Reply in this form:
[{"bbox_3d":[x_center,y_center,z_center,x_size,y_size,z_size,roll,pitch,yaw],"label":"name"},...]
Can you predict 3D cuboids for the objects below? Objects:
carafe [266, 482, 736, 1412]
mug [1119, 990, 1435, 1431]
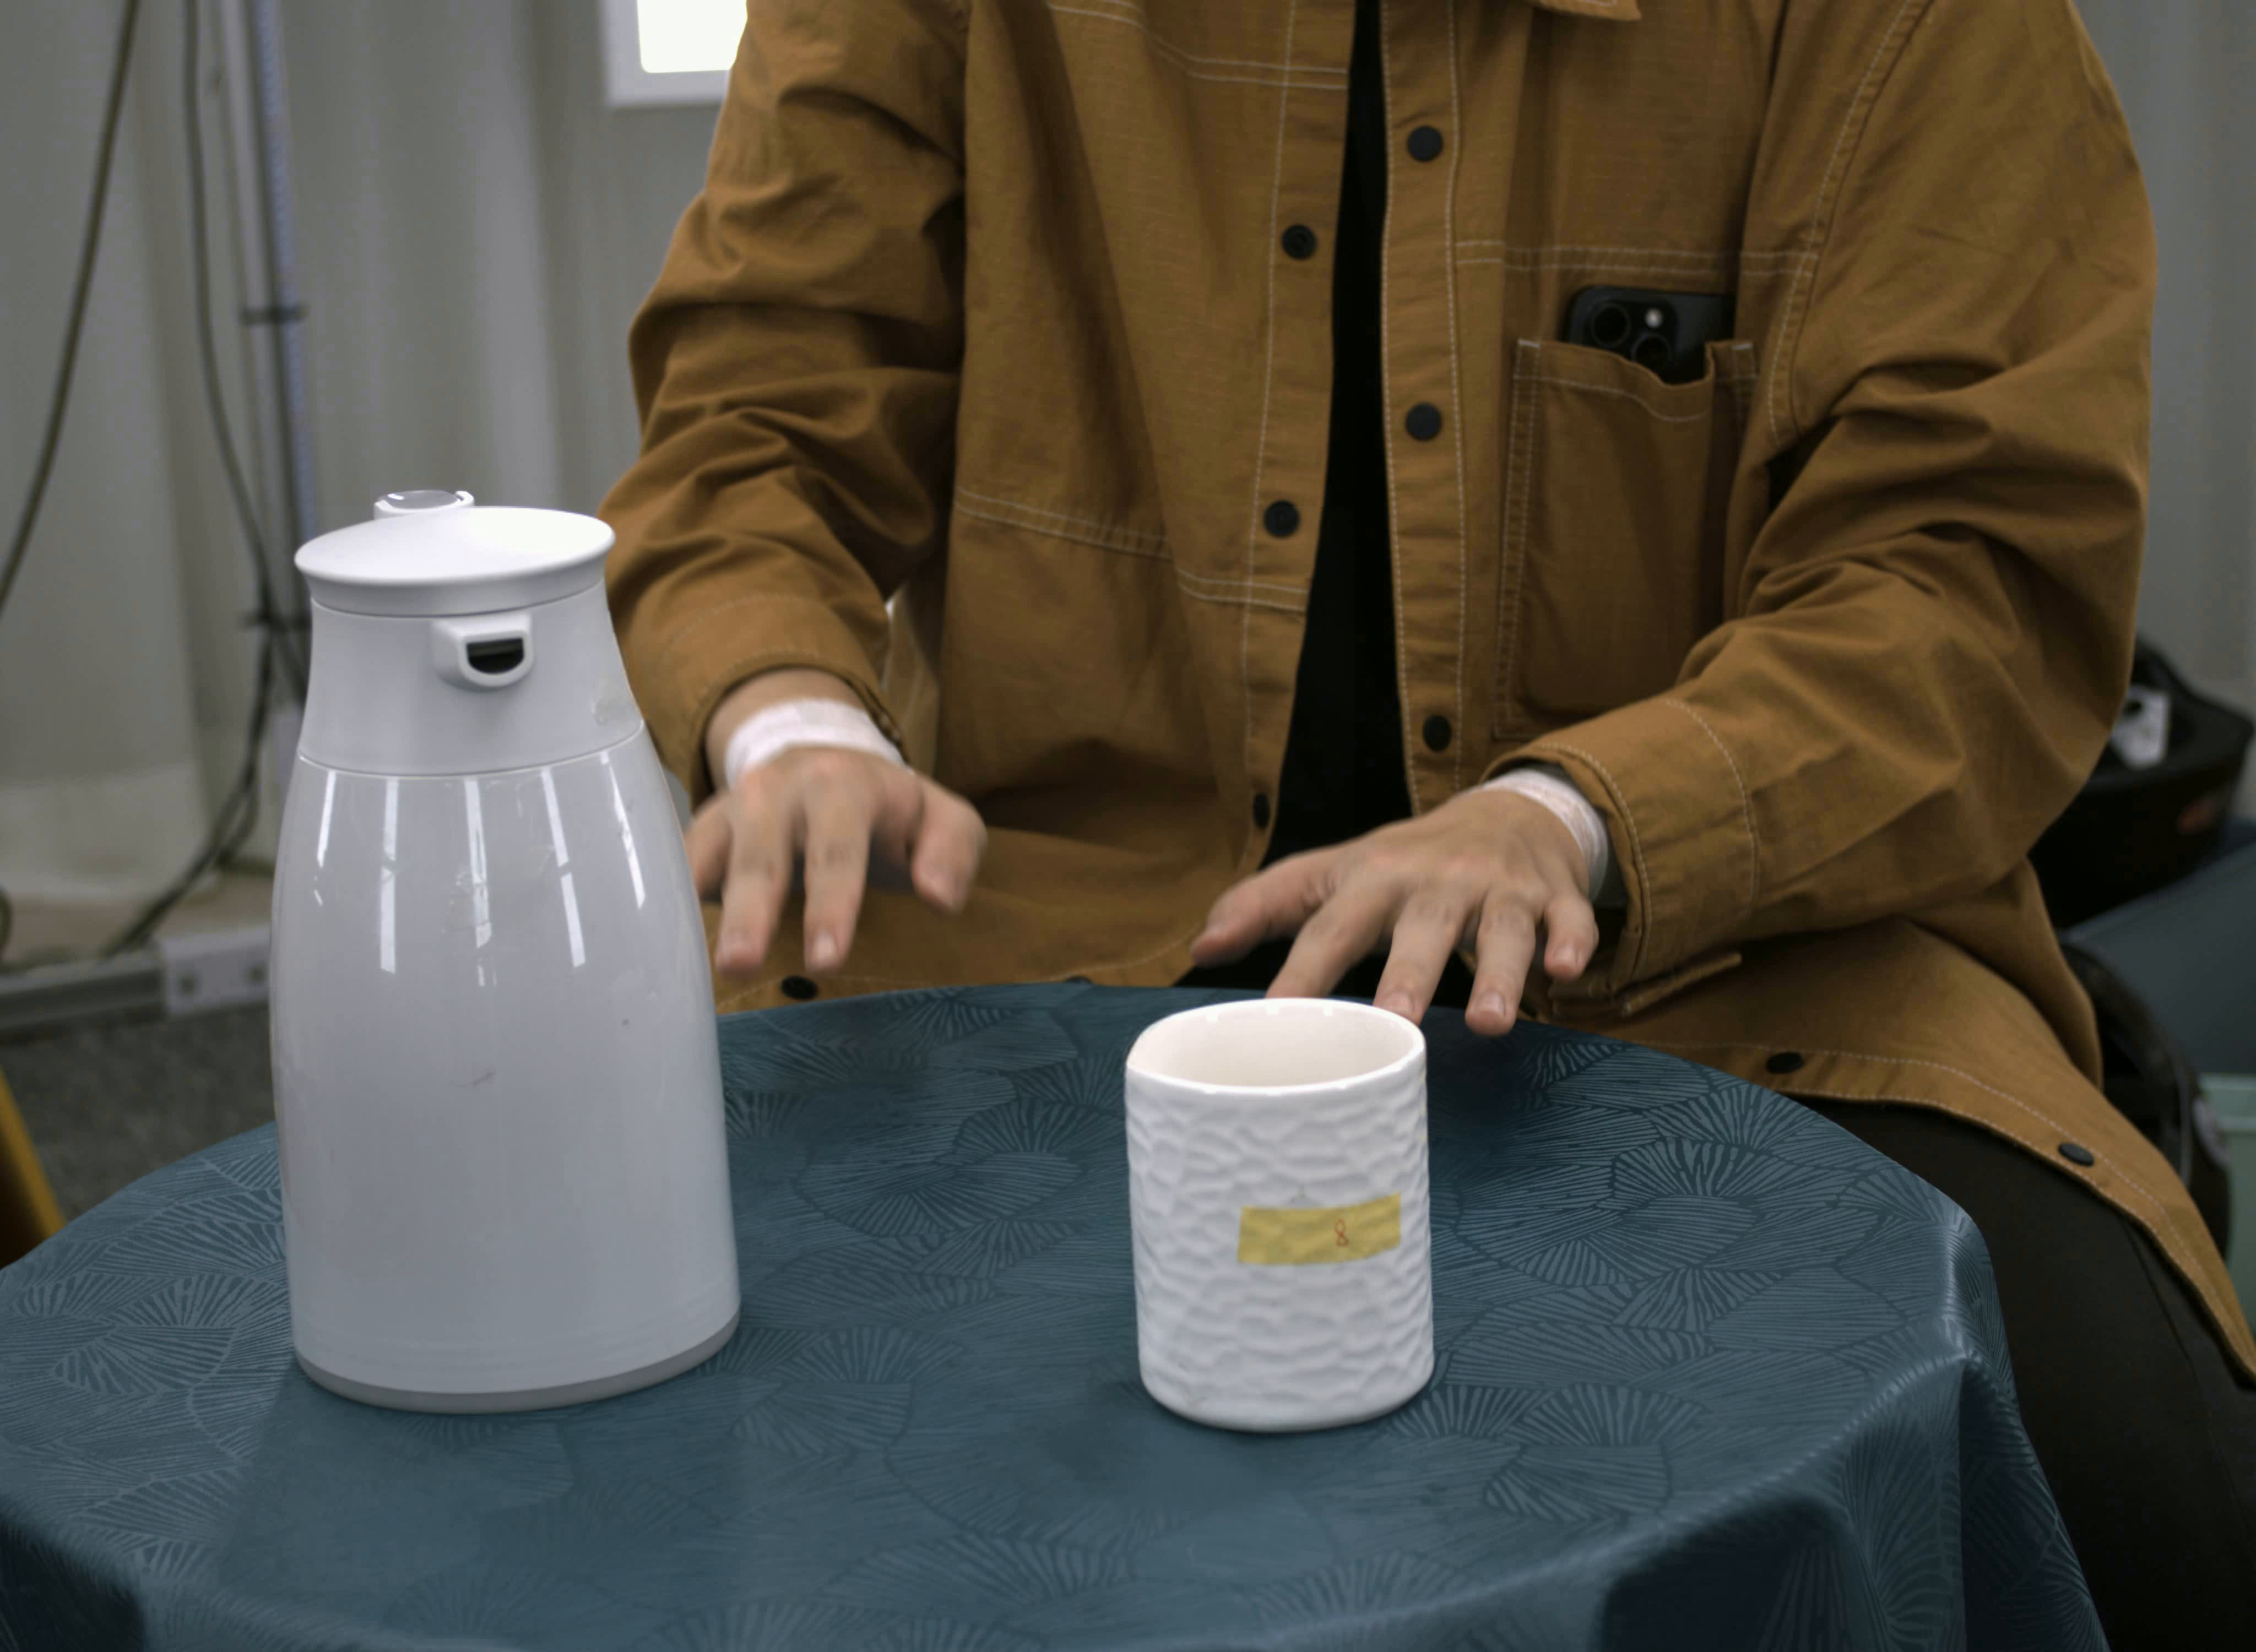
[{"bbox_3d":[-0.193,0.027,1.603,0.132,0.248,0.169,-7,14,-16],"label":"carafe"},{"bbox_3d":[0.043,0.103,1.544,0.085,0.101,0.119,-2,16,4],"label":"mug"}]
